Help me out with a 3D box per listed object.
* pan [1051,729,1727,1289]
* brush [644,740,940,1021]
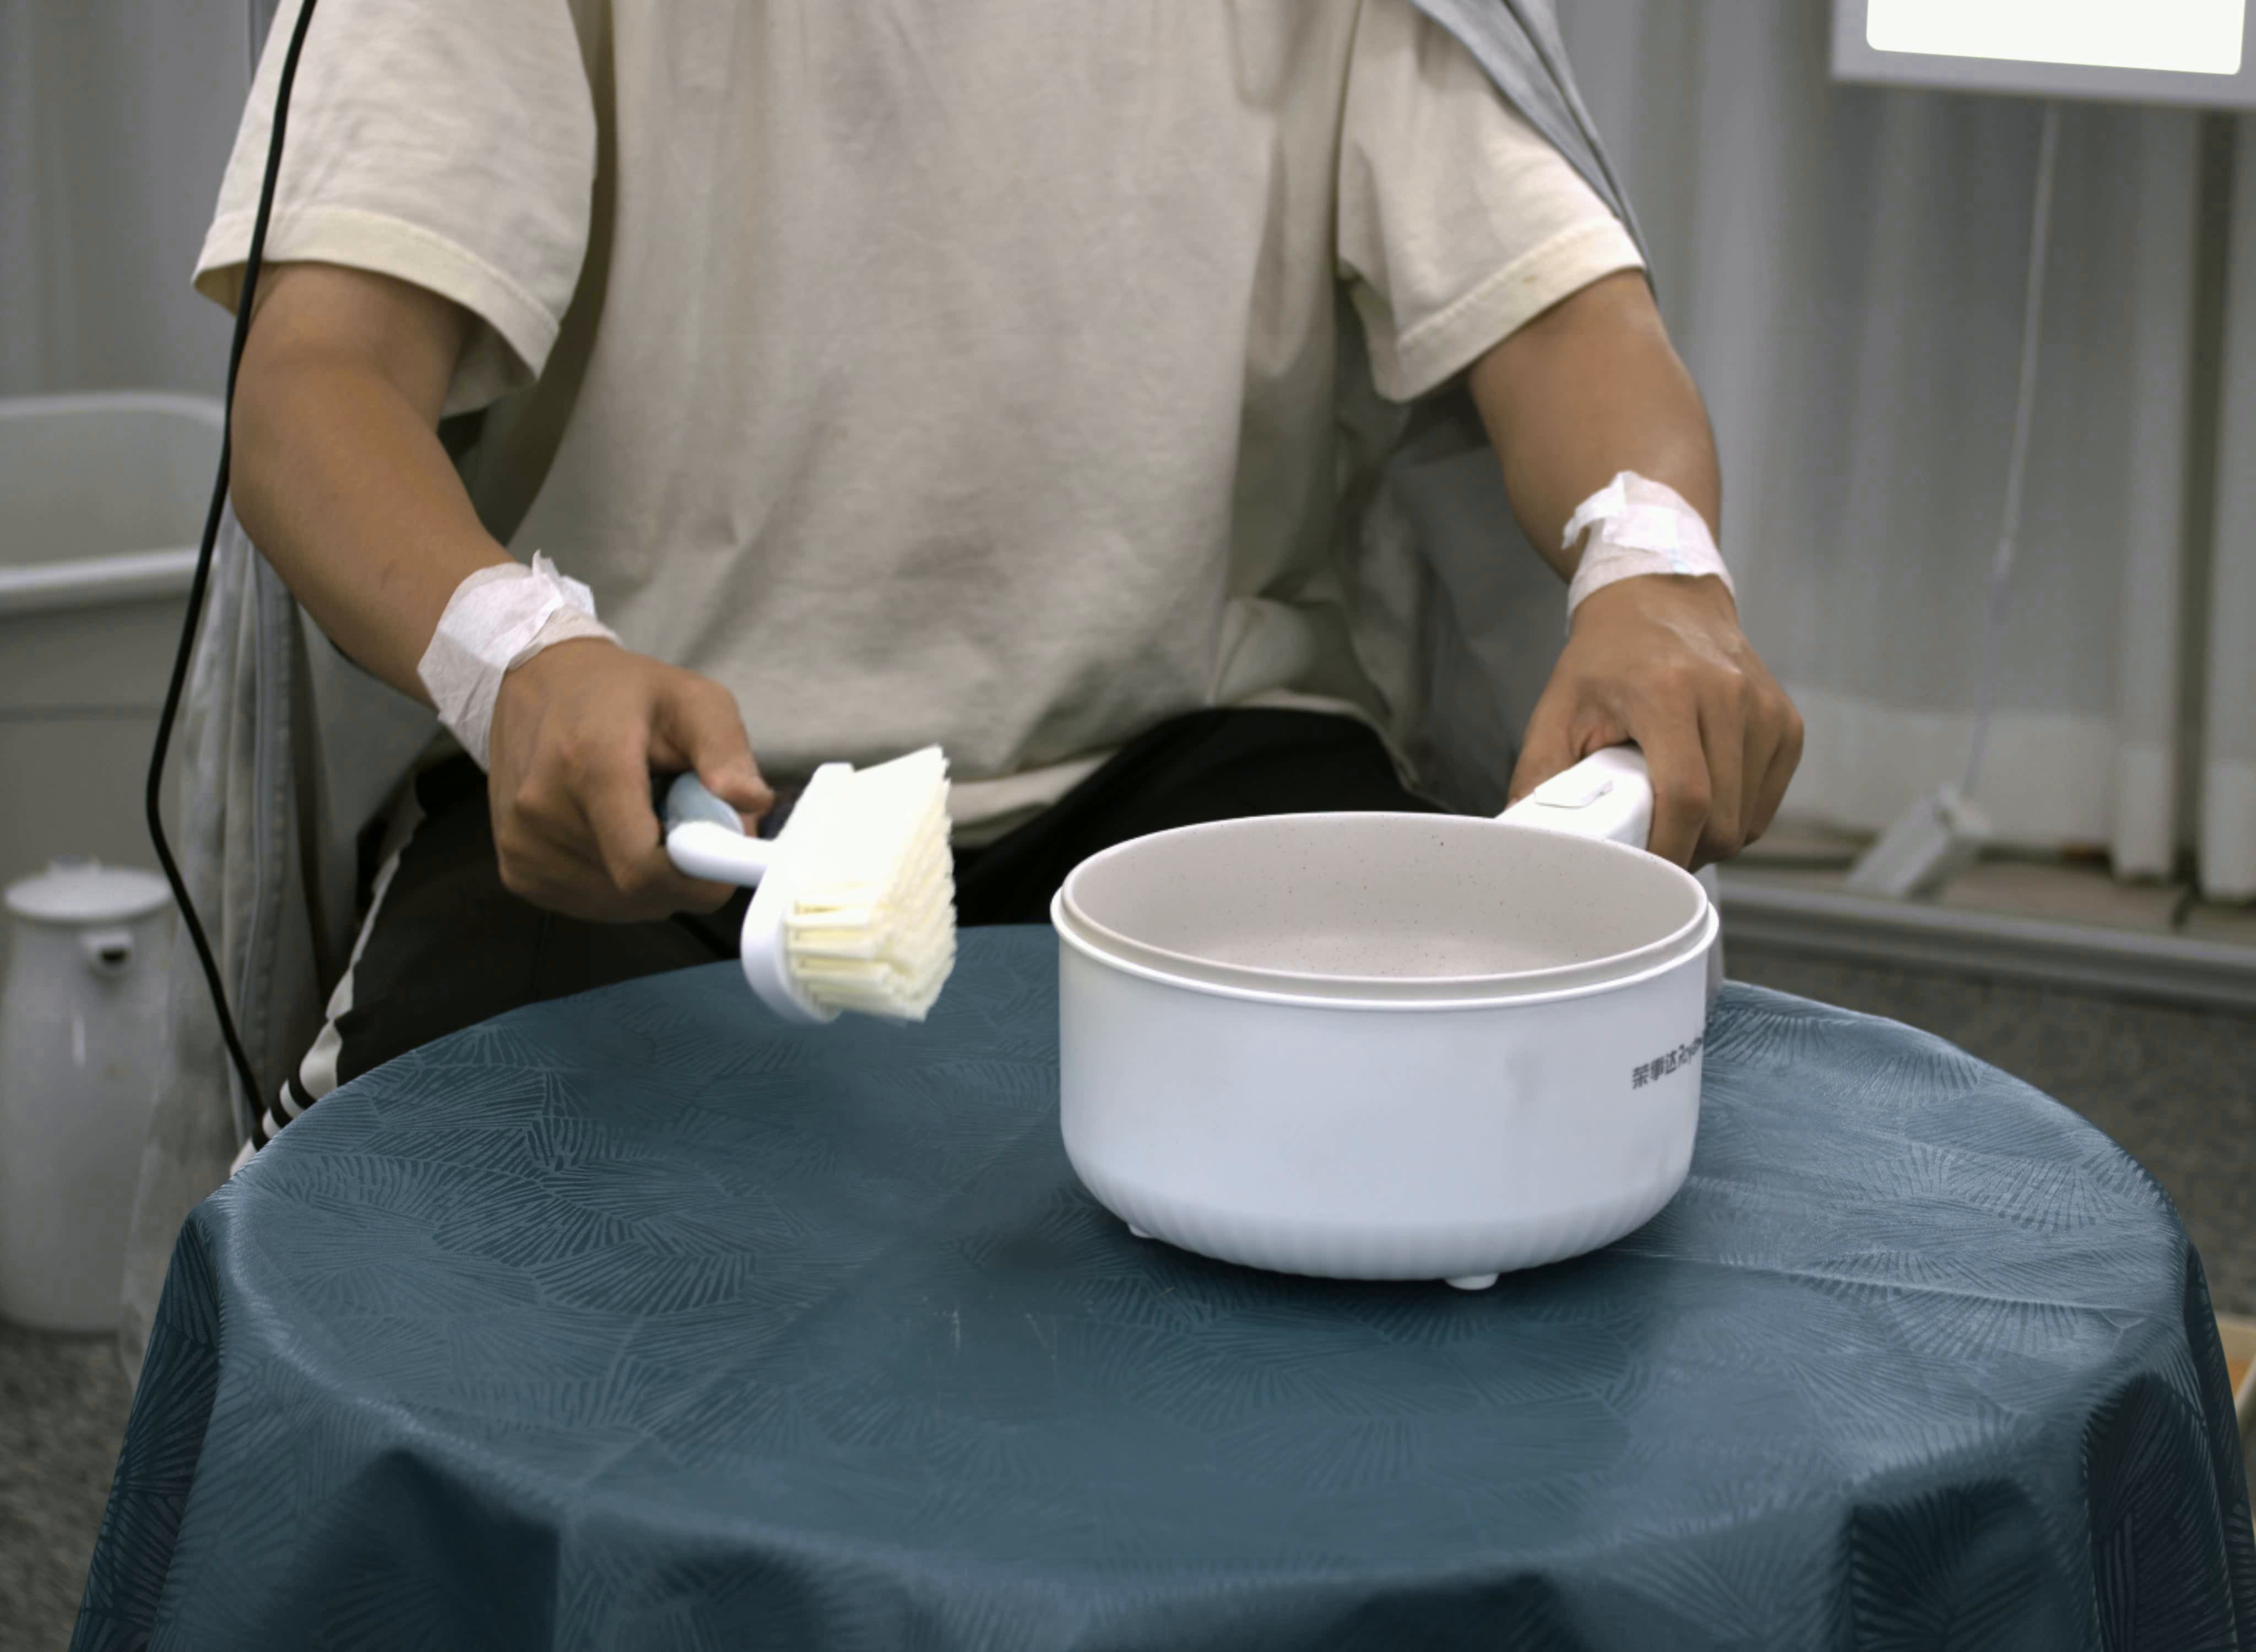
[{"bbox_3d":[0.109,0.051,1.663,0.199,0.103,0.355,8,16,24],"label":"pan"},{"bbox_3d":[-0.092,0.002,1.623,0.085,0.083,0.323,34,4,-11],"label":"brush"}]
